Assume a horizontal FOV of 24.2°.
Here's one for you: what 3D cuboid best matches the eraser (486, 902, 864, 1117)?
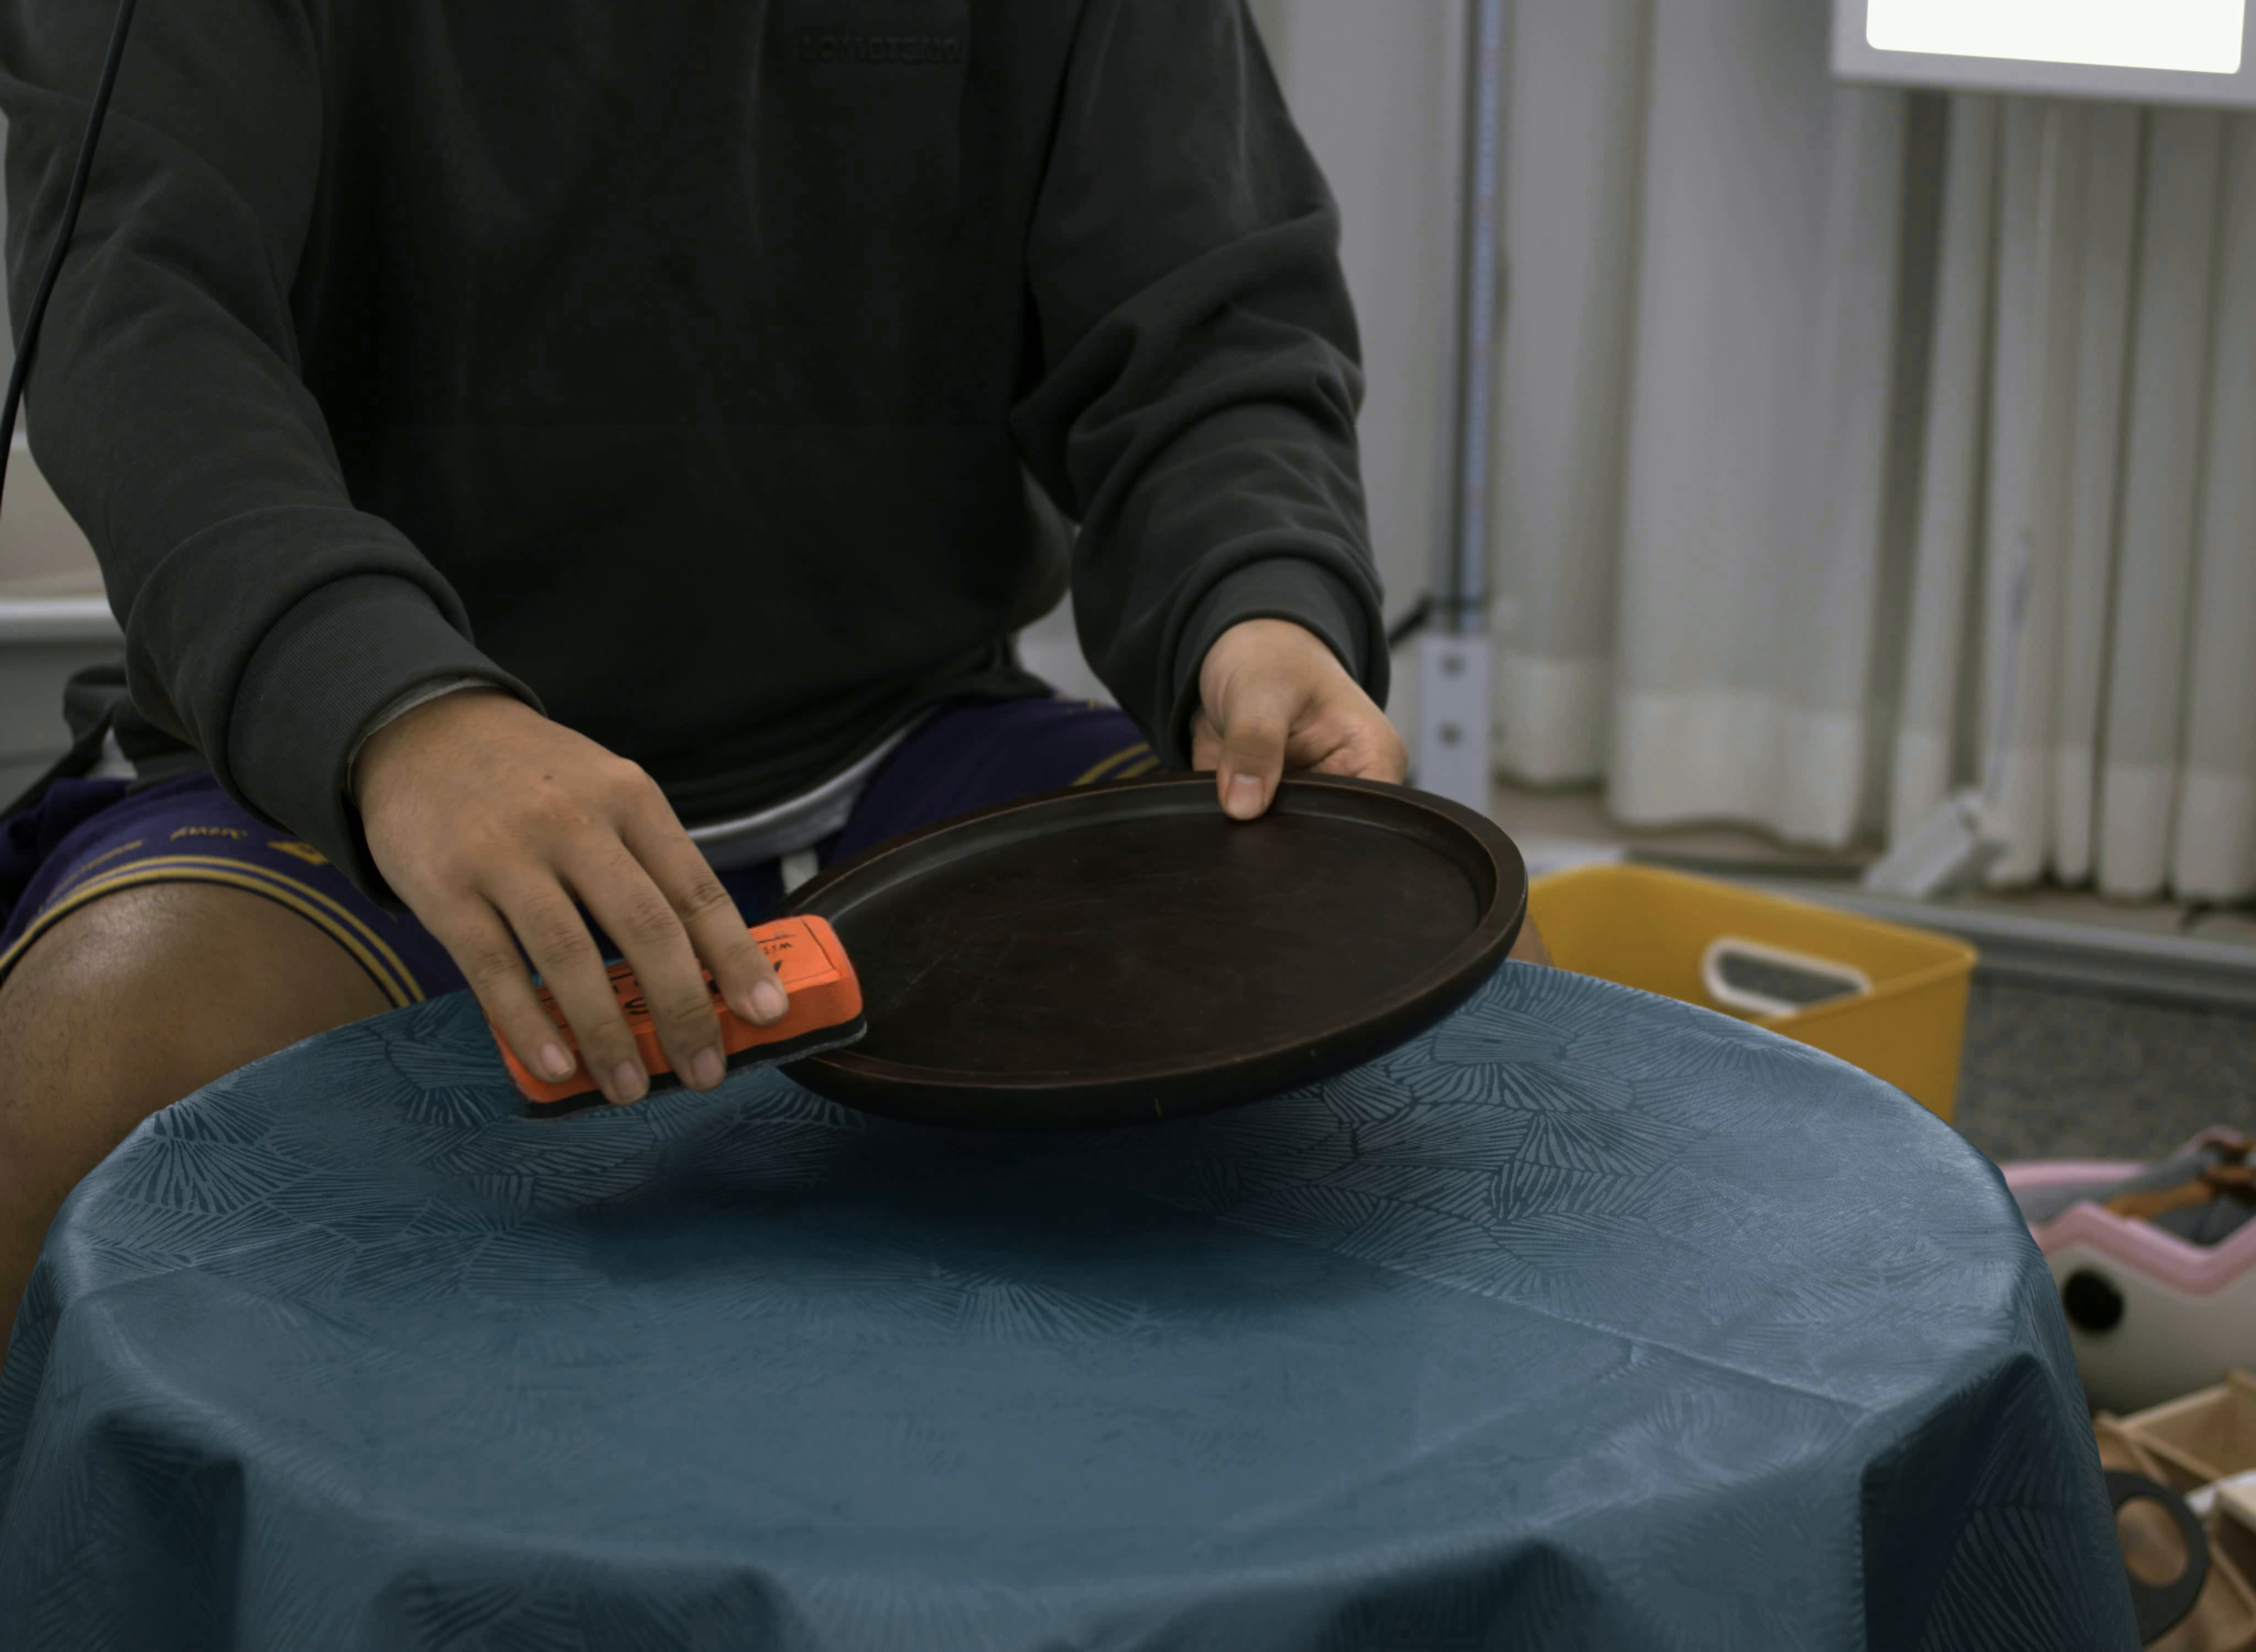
[{"bbox_3d":[-0.137,0.055,1.590,0.108,0.023,0.058,-16,22,-11],"label":"eraser"}]

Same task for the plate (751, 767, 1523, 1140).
[{"bbox_3d":[0.000,0.037,1.654,0.254,0.029,0.253,-8,21,4],"label":"plate"}]
